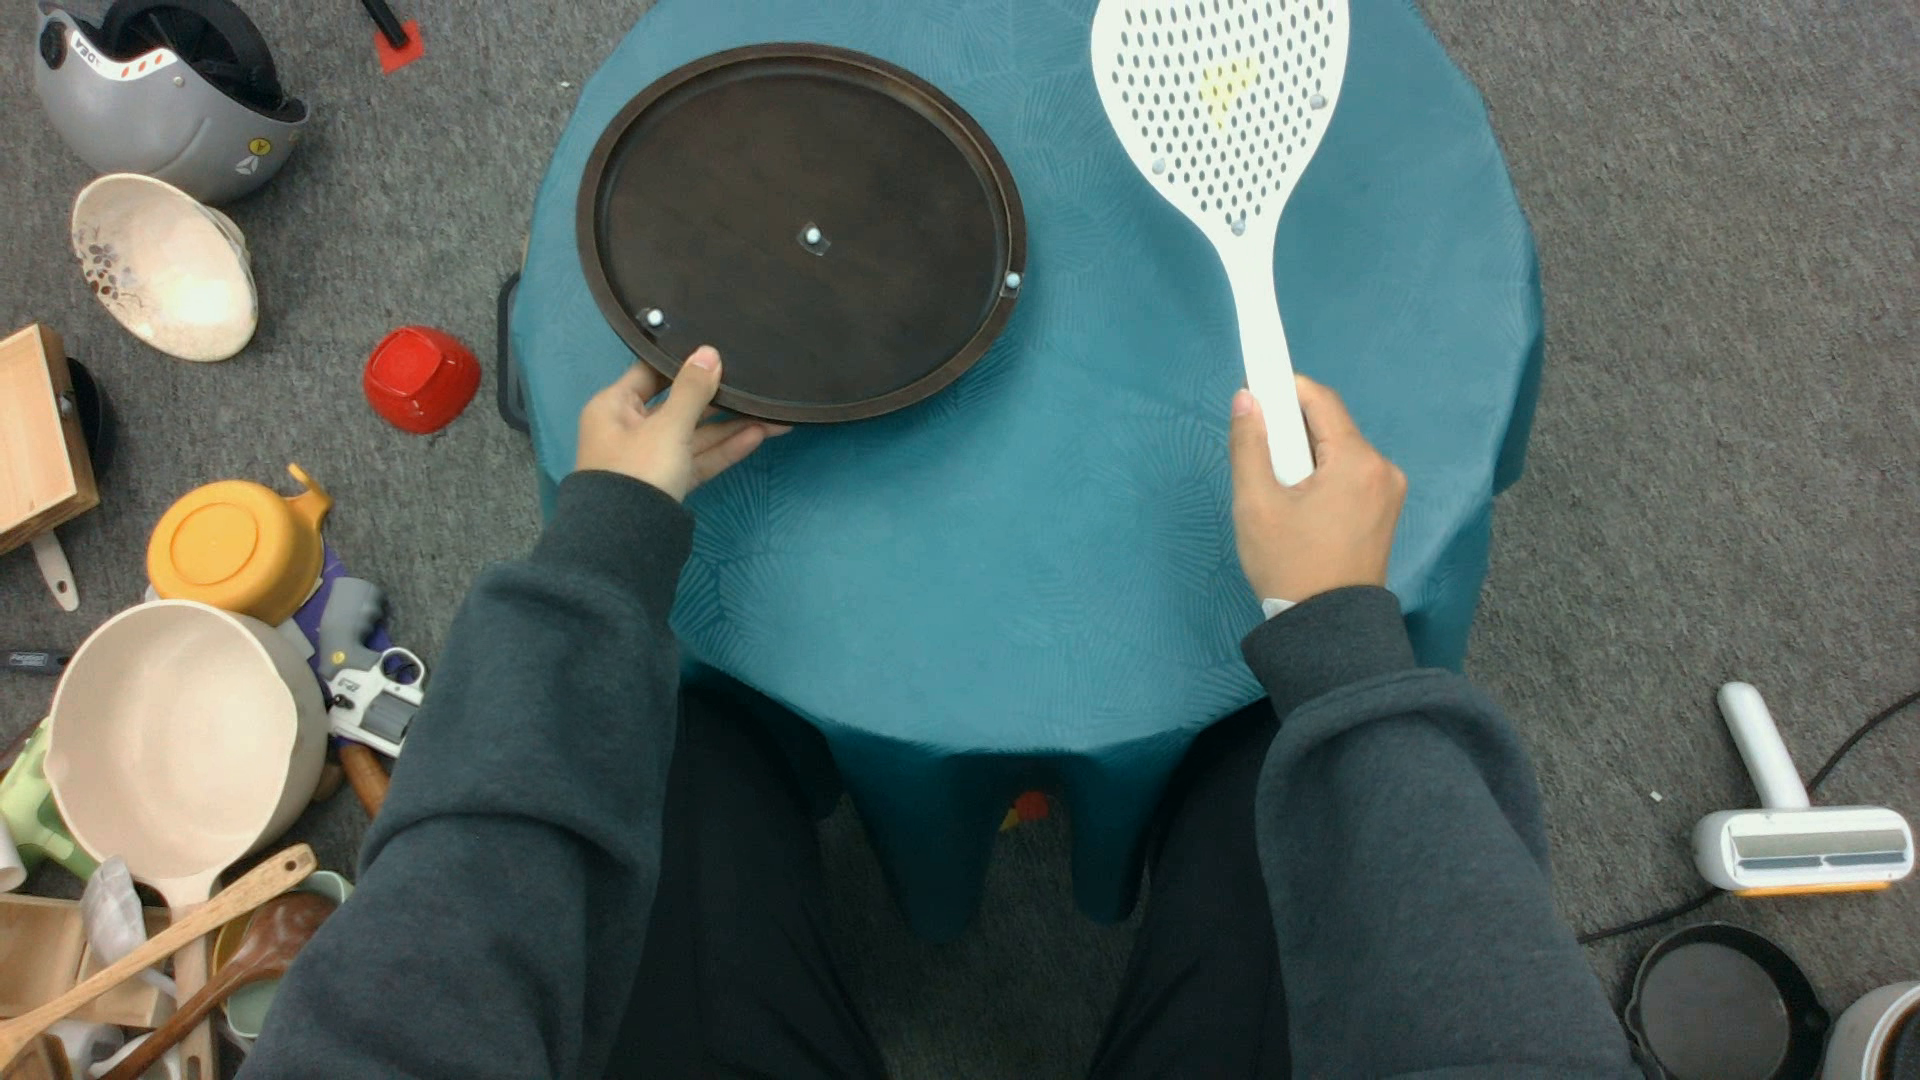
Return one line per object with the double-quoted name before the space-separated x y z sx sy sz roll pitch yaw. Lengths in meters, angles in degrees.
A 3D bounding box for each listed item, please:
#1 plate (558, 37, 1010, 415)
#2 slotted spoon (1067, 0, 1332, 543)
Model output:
"plate" -0.098 -0.183 0.785 0.255 0.029 0.255 4 67 -9
"slotted spoon" 0.144 -0.167 0.725 0.136 0.050 0.349 -12 71 15
